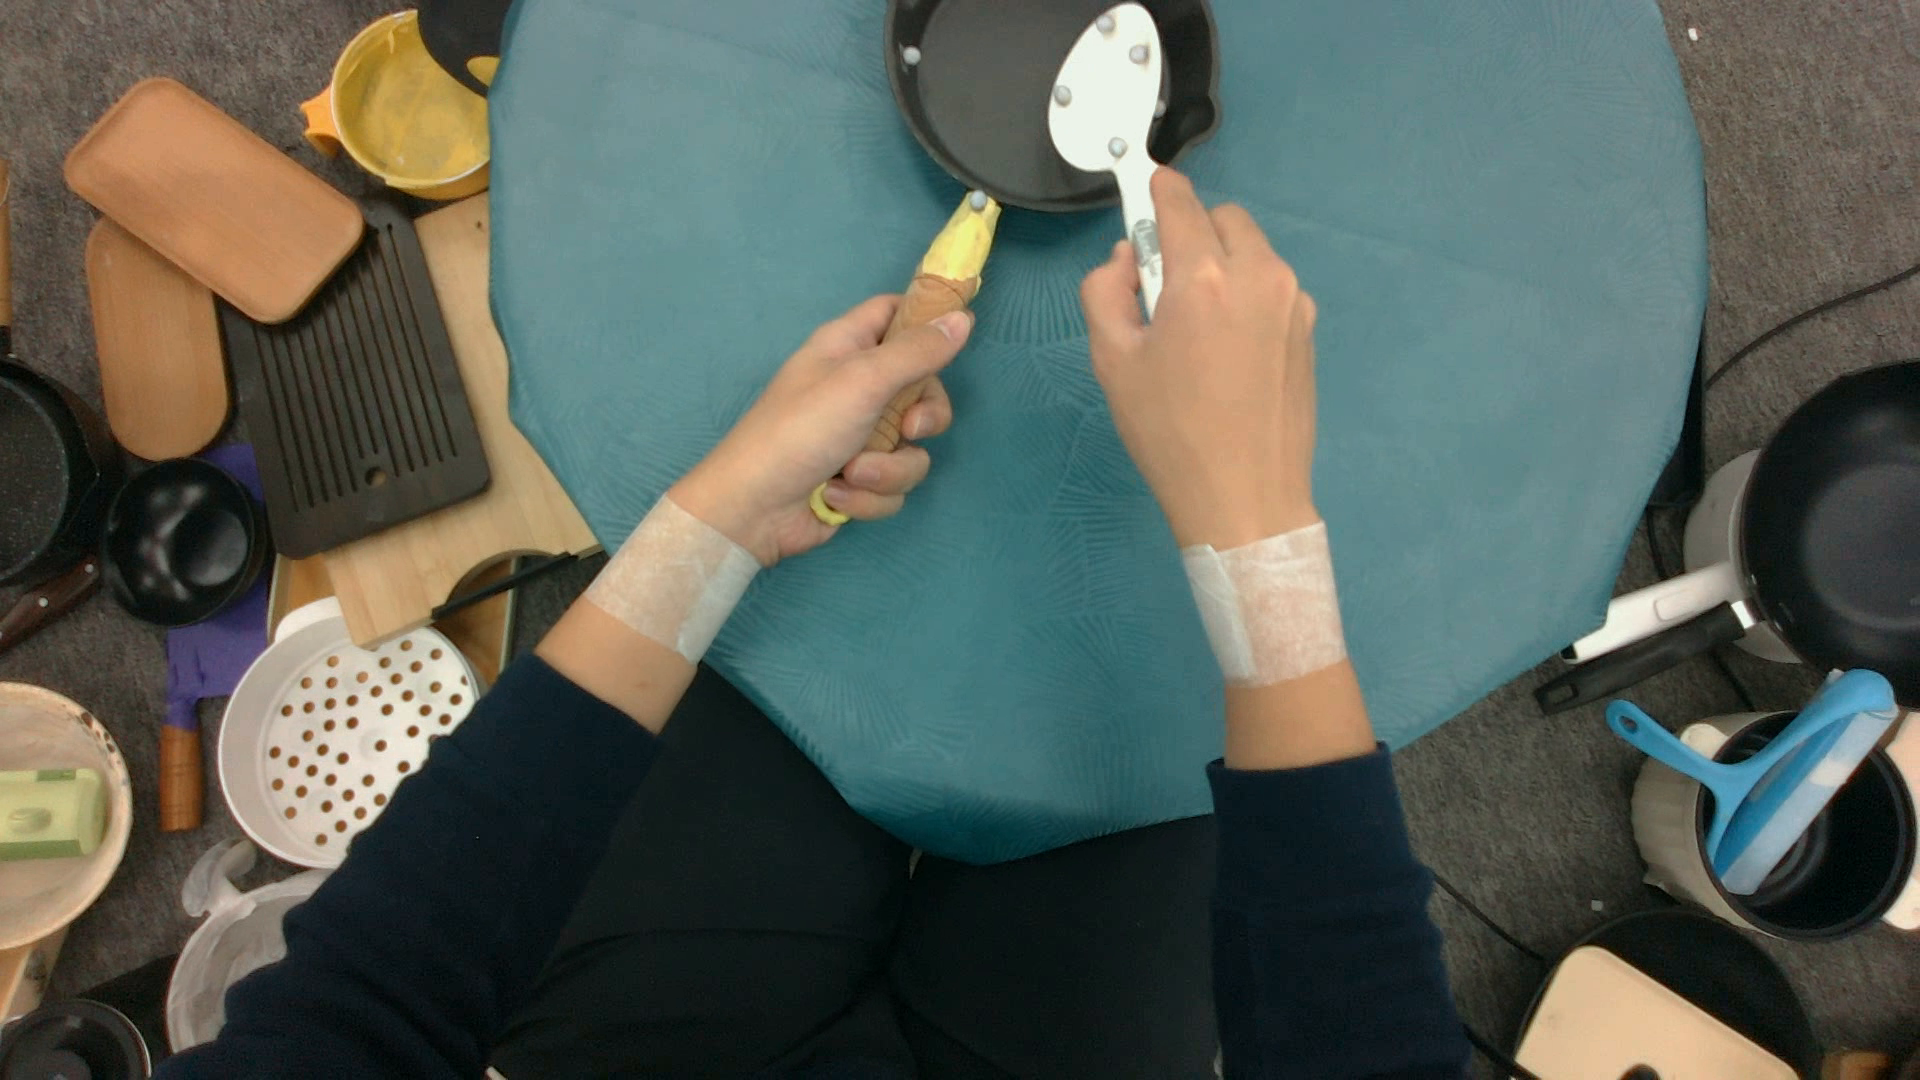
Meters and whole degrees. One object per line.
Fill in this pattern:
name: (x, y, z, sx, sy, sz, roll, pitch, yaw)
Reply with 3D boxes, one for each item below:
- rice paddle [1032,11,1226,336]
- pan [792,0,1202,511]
rice paddle: (0.068, -0.165, 0.593, 0.029, 0.068, 0.206, 24, 37, -35)
pan: (-0.001, -0.158, 0.631, 0.169, 0.049, 0.325, 26, 78, -2)
